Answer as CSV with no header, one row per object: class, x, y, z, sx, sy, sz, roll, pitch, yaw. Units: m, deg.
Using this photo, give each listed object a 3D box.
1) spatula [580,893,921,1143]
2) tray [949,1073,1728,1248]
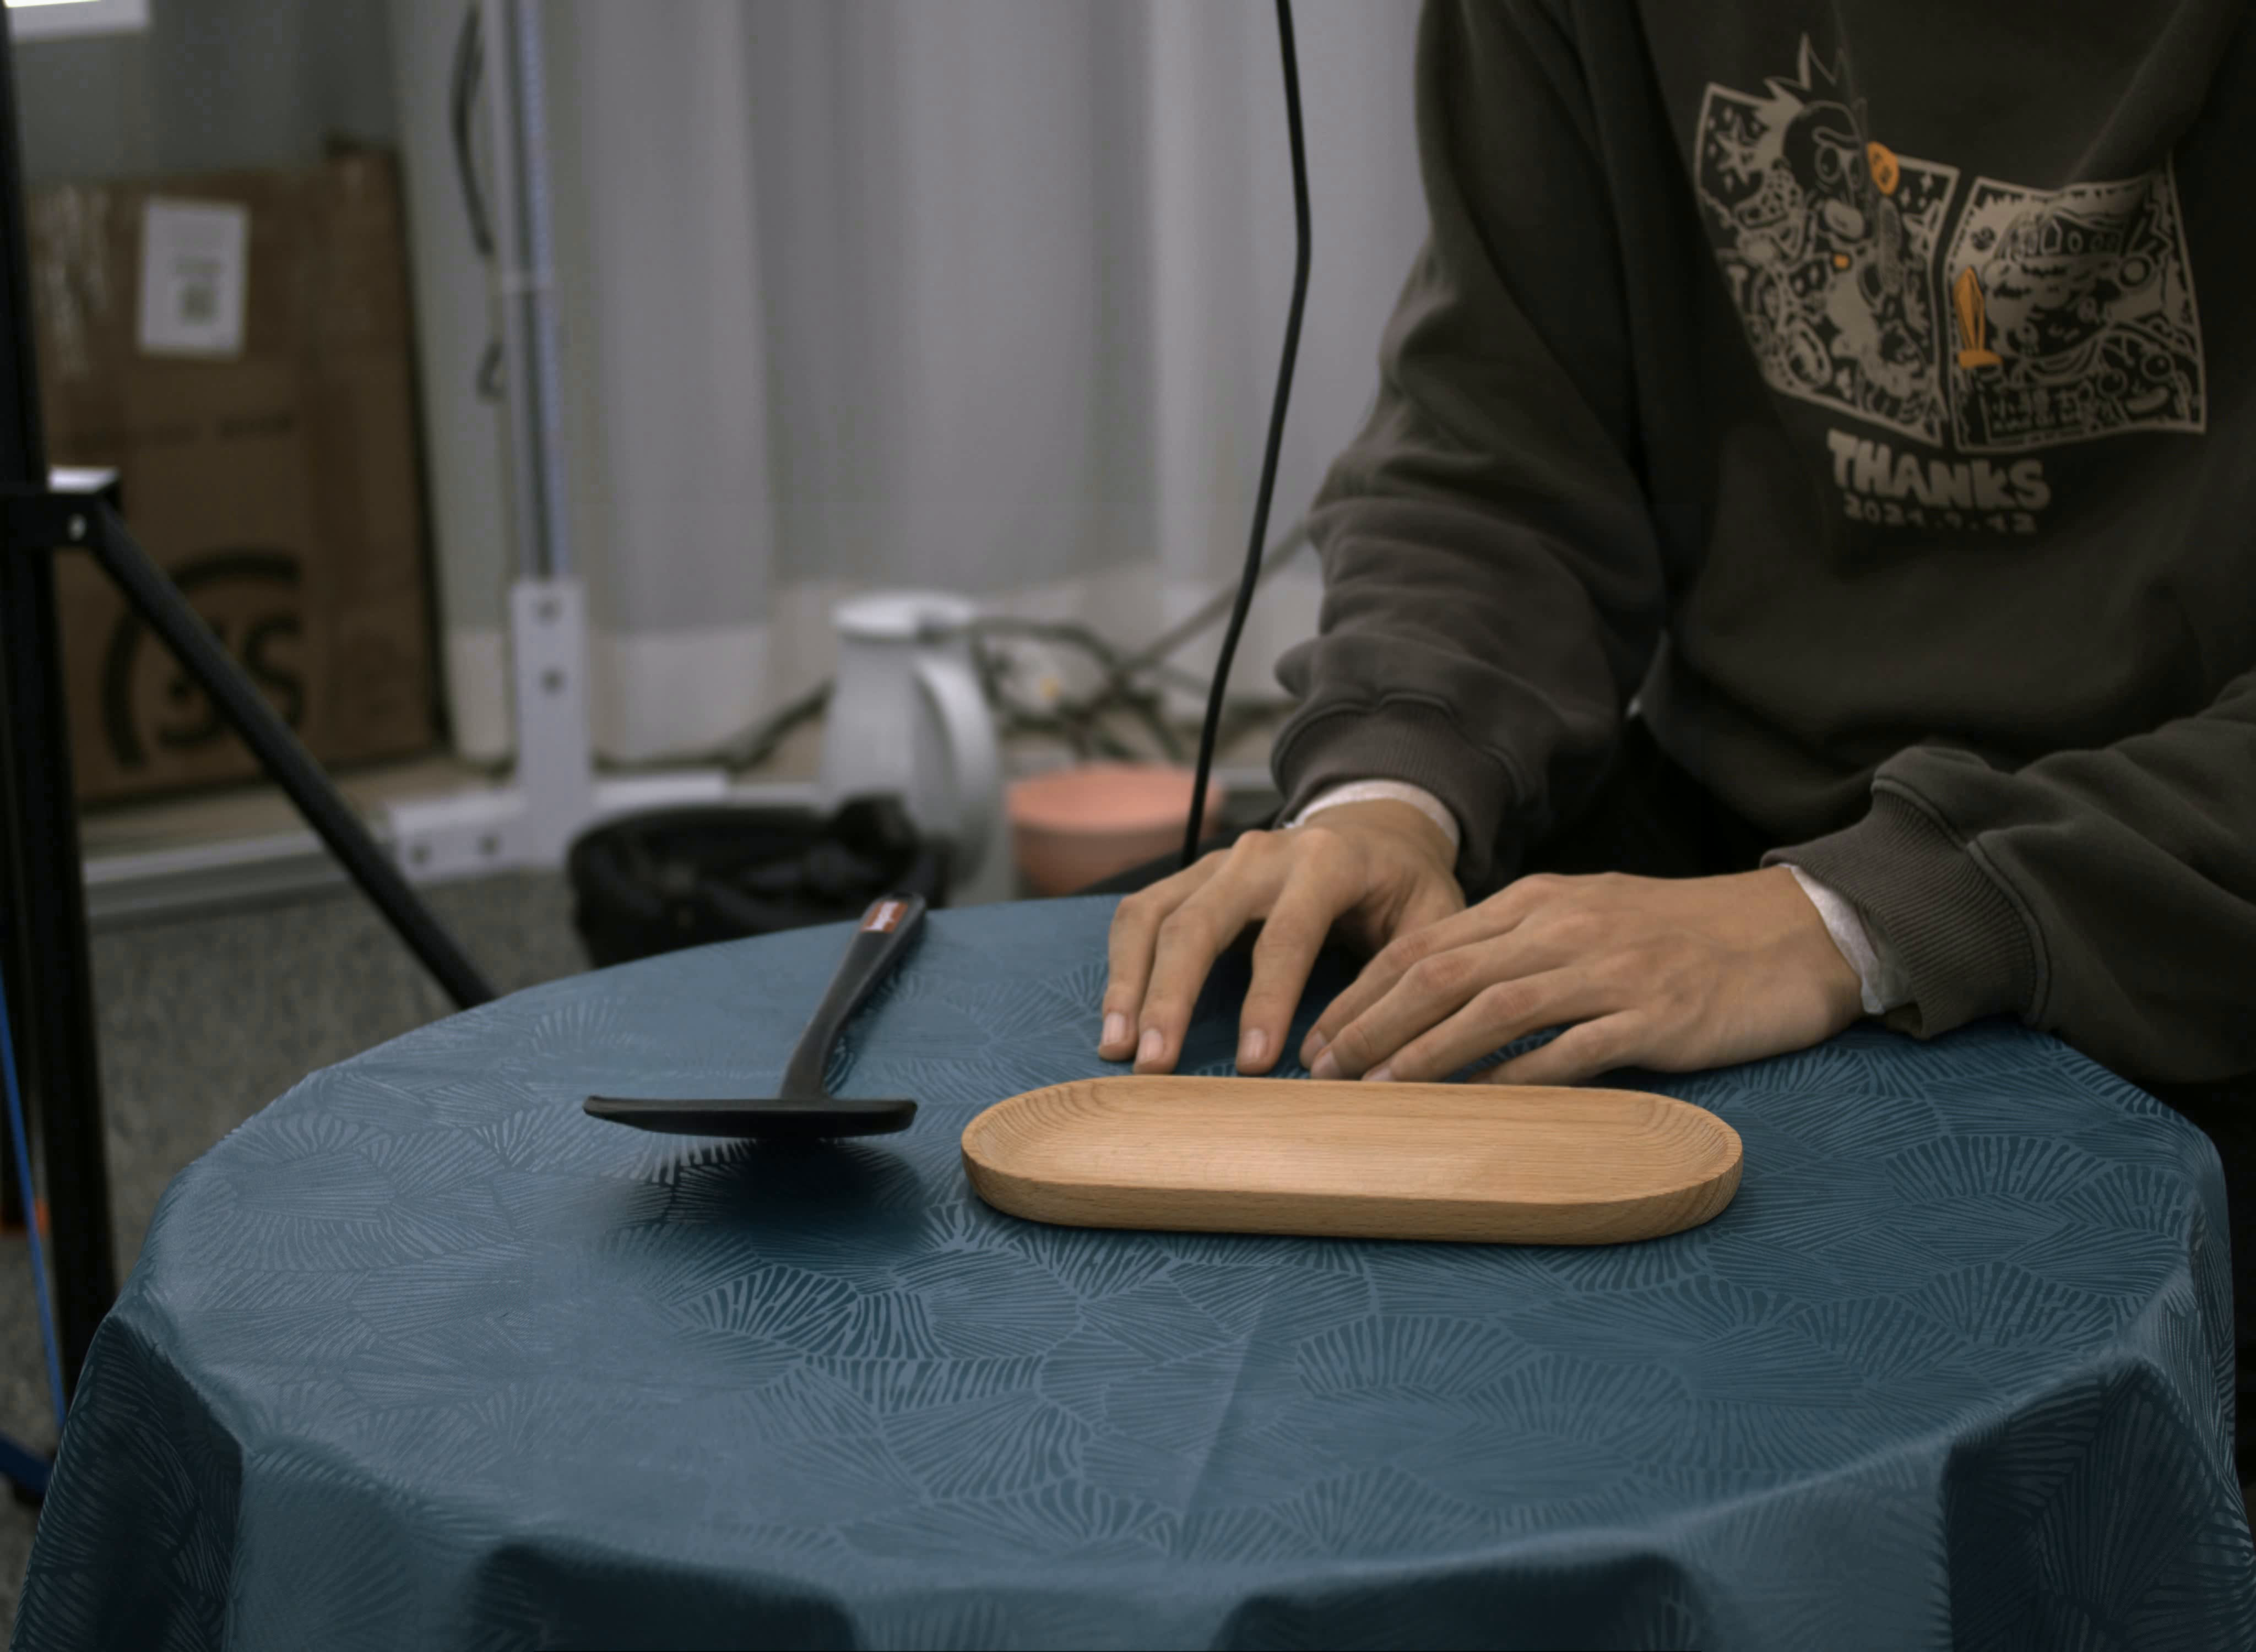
spatula,-0.096,0.056,1.695,0.100,0.040,0.326,0,16,6
tray,0.061,0.098,1.557,0.233,0.020,0.101,0,16,15
